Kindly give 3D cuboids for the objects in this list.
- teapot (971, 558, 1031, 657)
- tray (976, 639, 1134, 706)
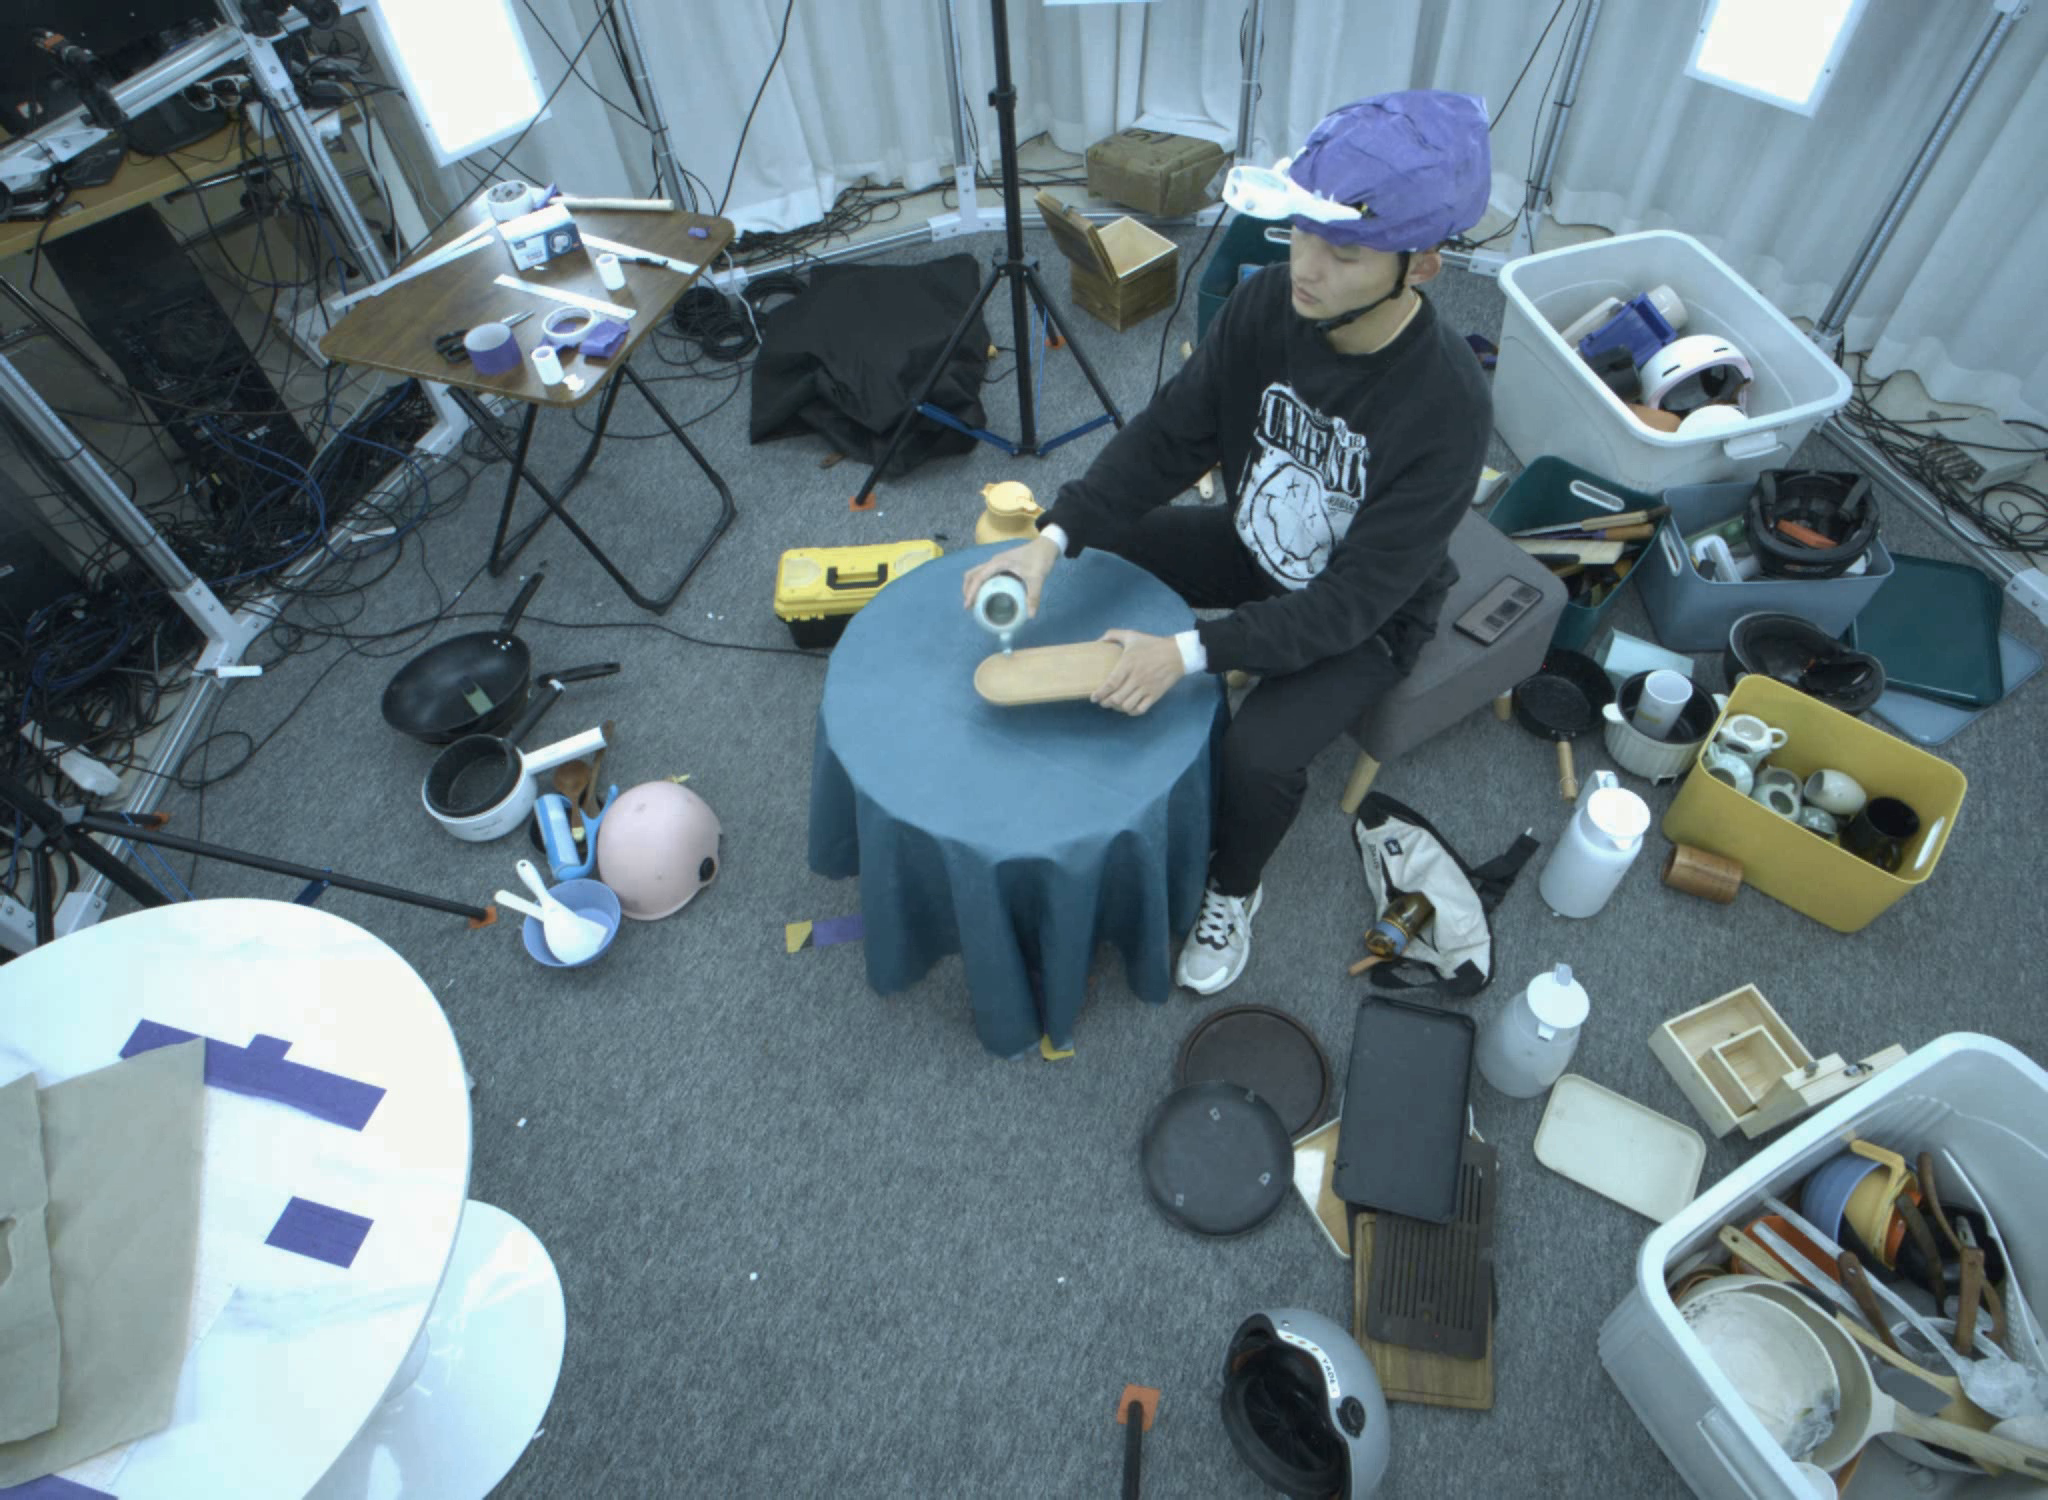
[{"bbox_3d":[-0.035,-0.215,1.811,0.088,0.145,0.074,-6,22,0],"label":"teapot"},{"bbox_3d":[0.045,-0.112,1.786,0.231,0.020,0.100,-5,53,2],"label":"tray"}]
